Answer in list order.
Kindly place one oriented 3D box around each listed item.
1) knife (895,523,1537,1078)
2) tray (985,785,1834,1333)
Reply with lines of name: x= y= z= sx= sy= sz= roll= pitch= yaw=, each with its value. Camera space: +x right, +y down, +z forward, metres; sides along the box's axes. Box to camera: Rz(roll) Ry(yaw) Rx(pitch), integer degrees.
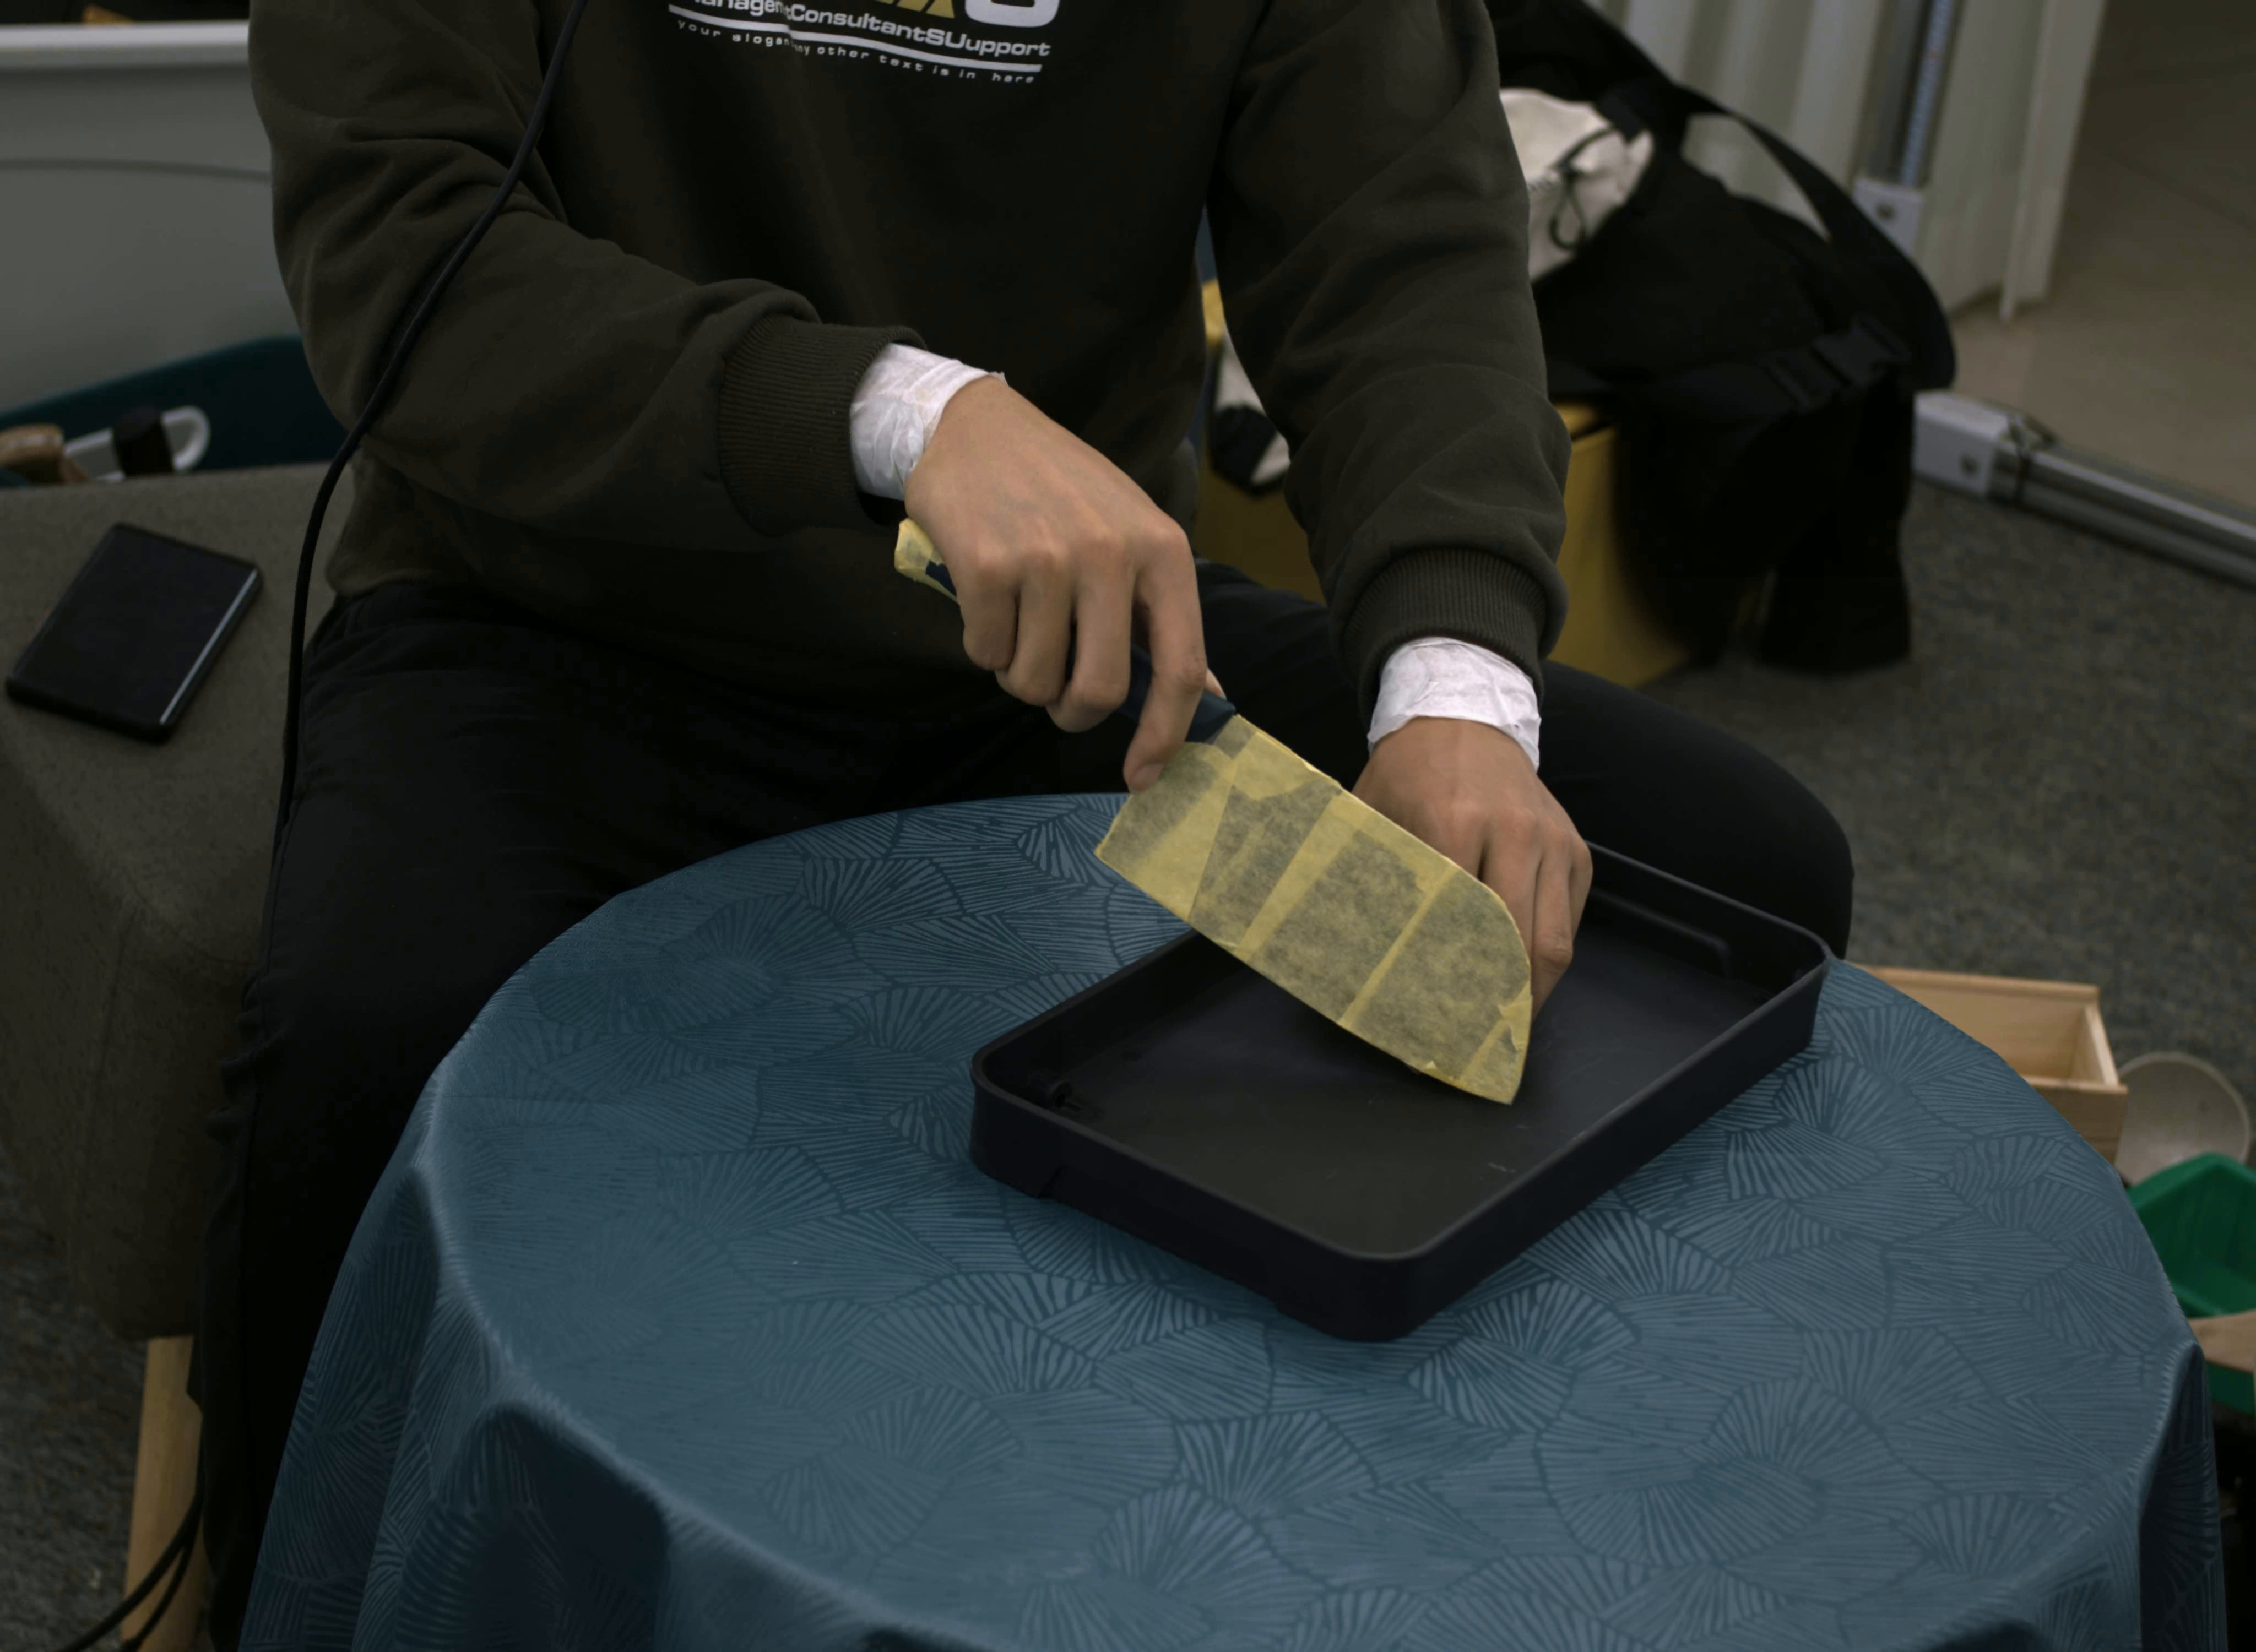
knife: x=0.027 y=-0.008 z=1.881 sx=0.290 sy=0.081 sz=0.027 roll=38 pitch=10 yaw=4
tray: x=0.103 y=0.075 z=1.882 sx=0.185 sy=0.037 sz=0.317 roll=22 pitch=30 yaw=27
